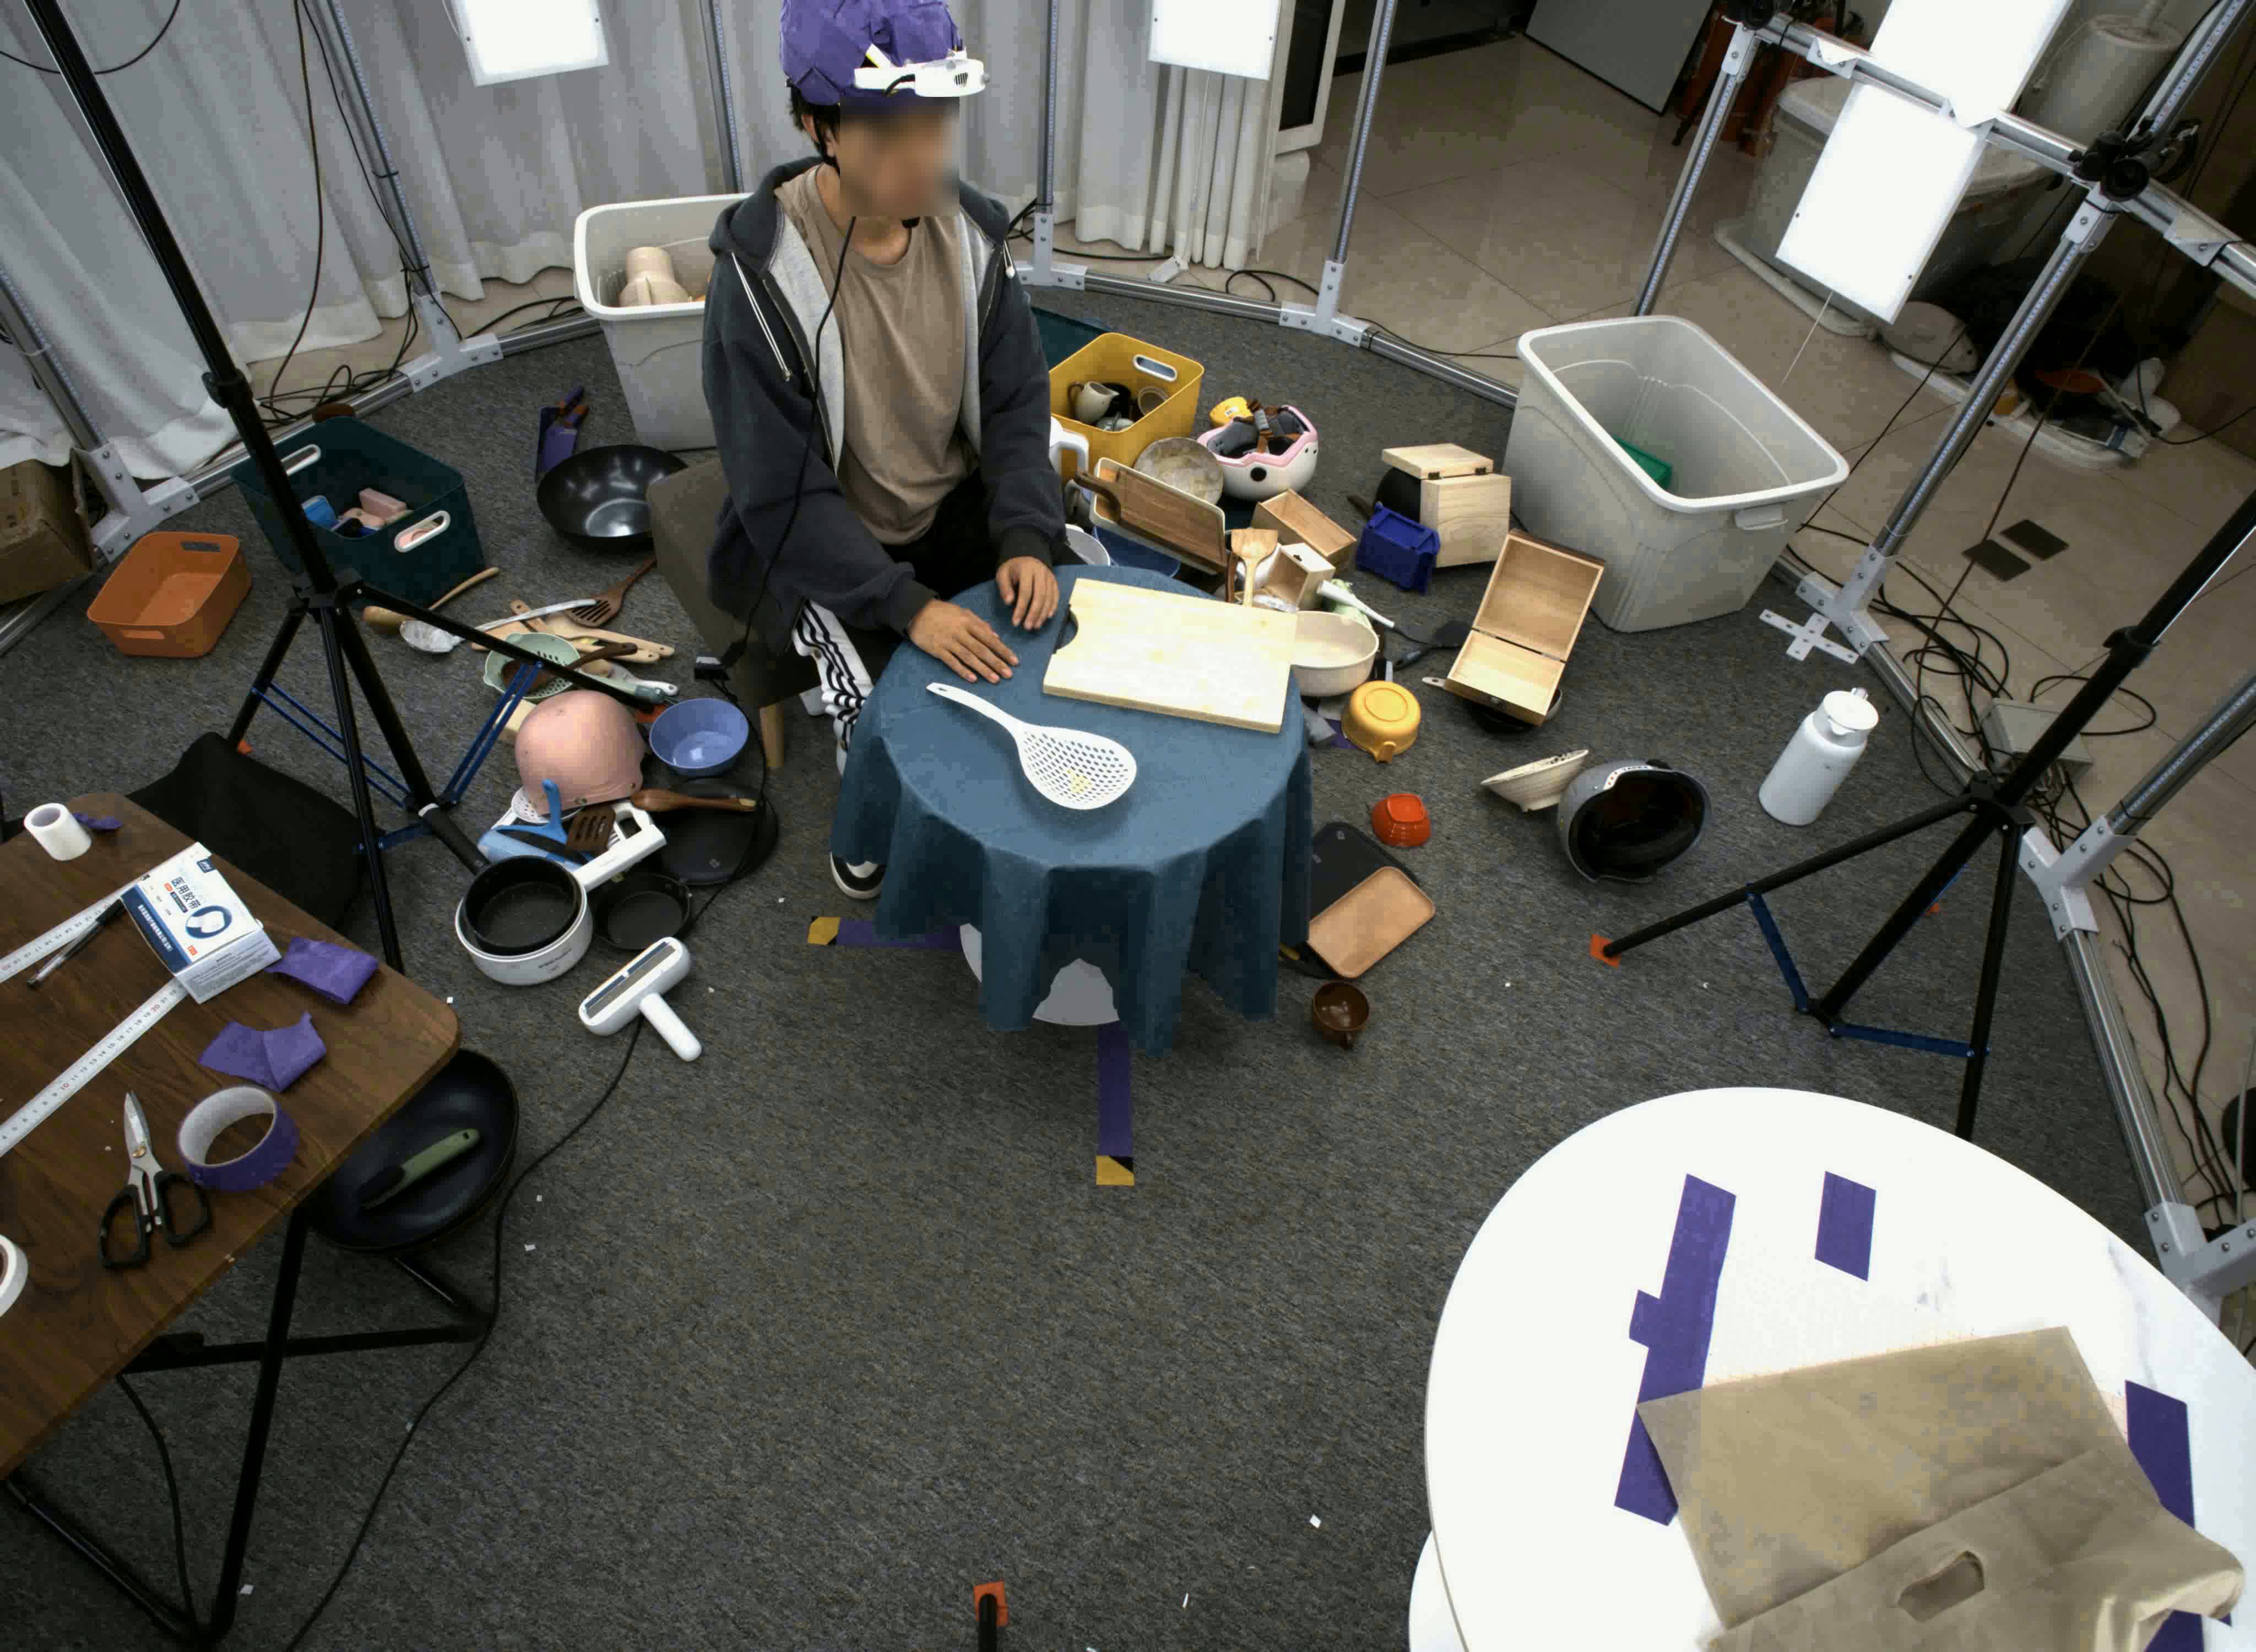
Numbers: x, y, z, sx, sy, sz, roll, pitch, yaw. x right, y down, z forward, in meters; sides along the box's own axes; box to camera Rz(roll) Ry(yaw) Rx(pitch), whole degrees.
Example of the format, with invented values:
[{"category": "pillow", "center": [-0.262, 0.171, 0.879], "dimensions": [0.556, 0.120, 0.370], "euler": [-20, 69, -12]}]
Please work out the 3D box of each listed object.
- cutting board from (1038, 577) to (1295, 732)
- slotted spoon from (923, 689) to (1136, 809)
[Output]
[{"category": "cutting board", "center": [0.063, -0.255, 1.882], "dimensions": [0.349, 0.023, 0.256], "euler": [9, 49, 4]}, {"category": "slotted spoon", "center": [-0.144, -0.120, 1.733], "dimensions": [0.352, 0.049, 0.138], "euler": [33, 57, 23]}]
